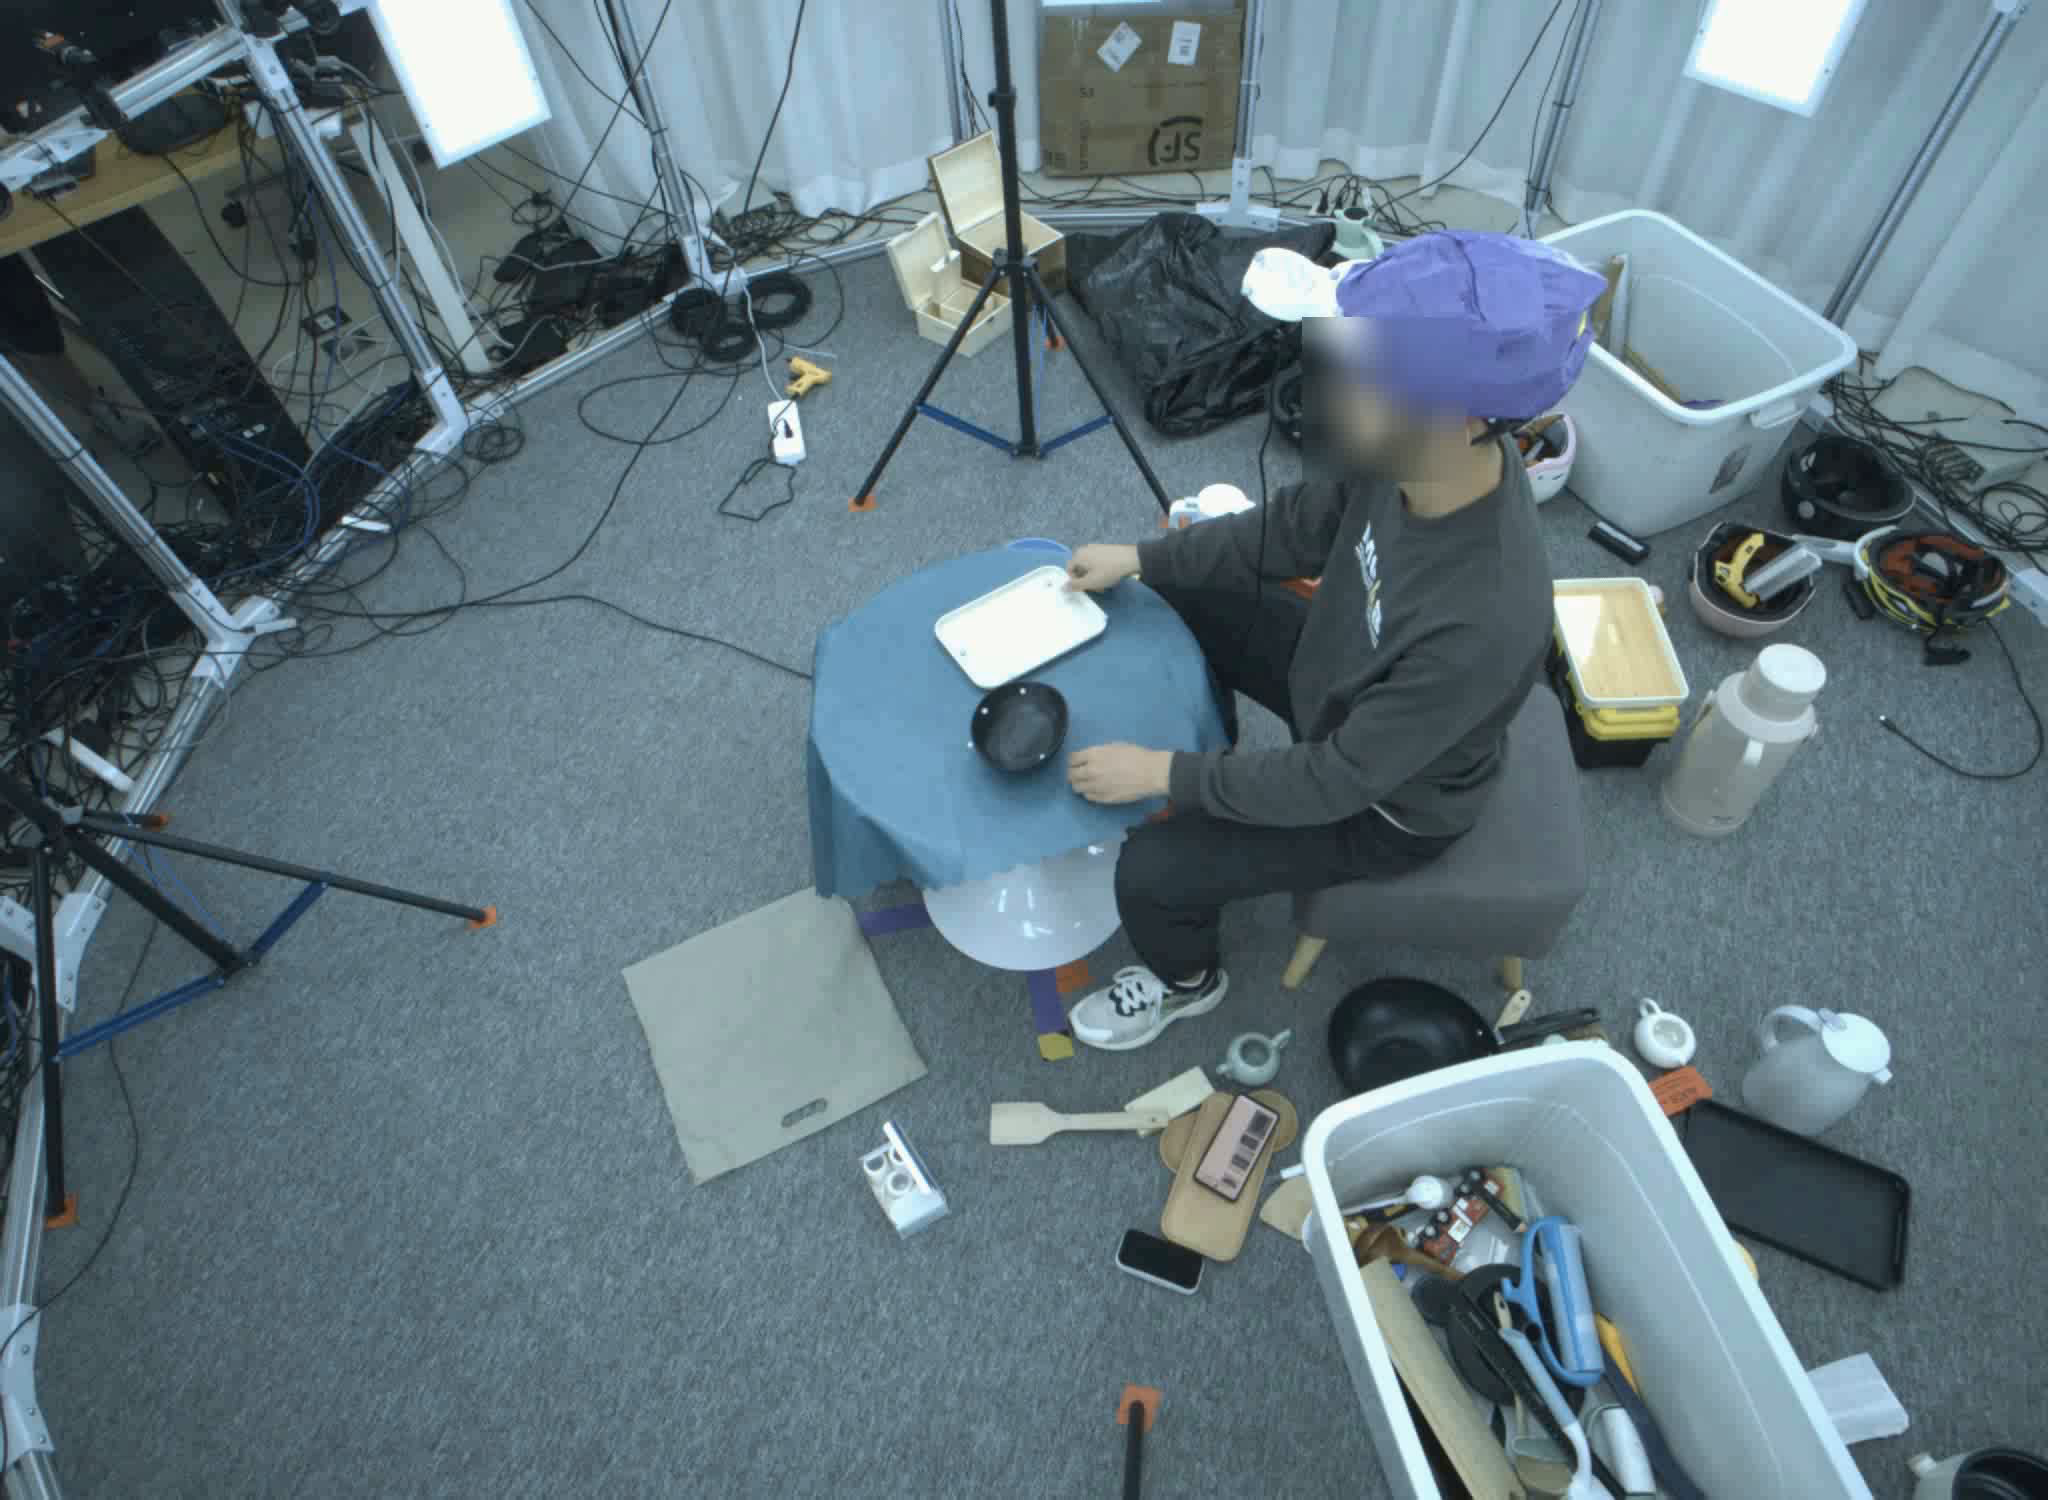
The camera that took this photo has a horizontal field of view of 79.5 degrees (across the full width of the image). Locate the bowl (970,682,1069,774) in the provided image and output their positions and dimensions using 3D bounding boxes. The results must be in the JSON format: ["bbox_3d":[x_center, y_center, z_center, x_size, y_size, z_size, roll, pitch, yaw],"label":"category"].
[{"bbox_3d":[-0.004,-0.024,1.765,0.136,0.067,0.170,15,54,11],"label":"bowl"}]

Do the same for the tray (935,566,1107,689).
[{"bbox_3d":[-0.005,-0.191,1.911,0.241,0.017,0.168,-29,58,-18],"label":"tray"}]
